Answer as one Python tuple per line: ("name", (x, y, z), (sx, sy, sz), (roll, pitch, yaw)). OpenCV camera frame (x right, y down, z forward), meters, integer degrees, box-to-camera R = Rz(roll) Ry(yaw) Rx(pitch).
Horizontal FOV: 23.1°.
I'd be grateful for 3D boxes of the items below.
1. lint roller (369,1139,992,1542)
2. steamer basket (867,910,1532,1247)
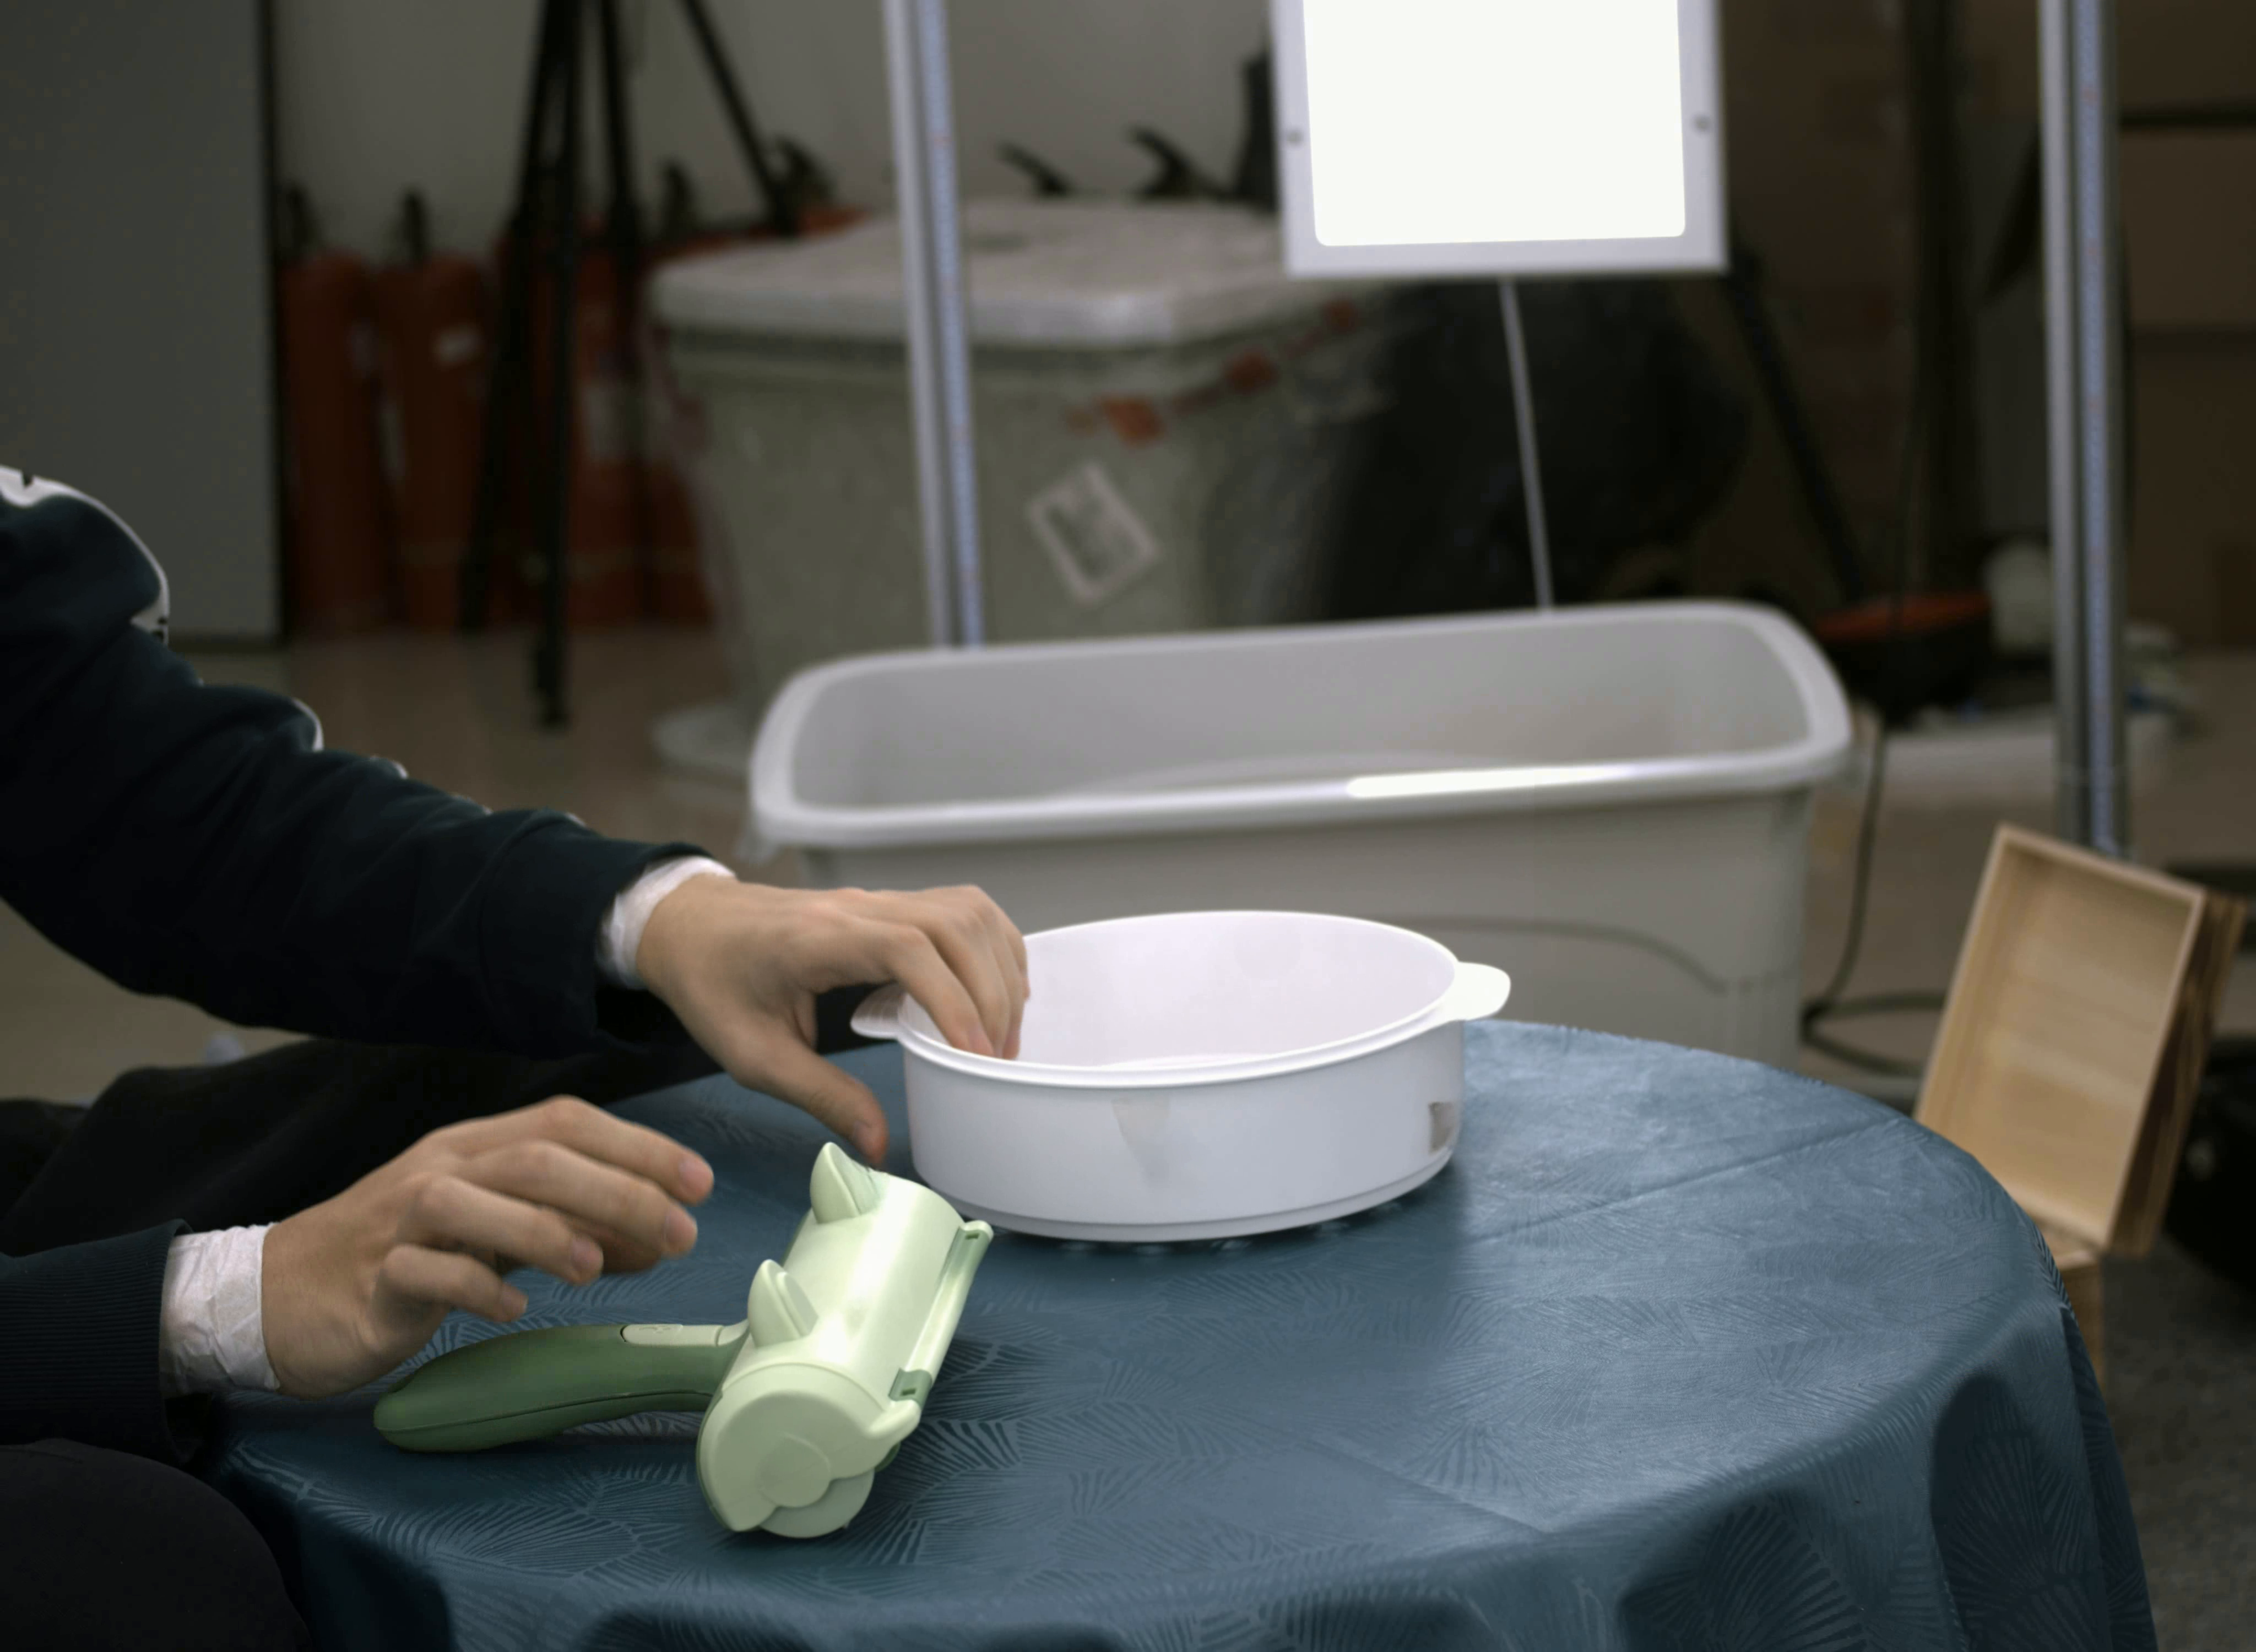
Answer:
("lint roller", (-0.143, 0.151, 1.684), (0.184, 0.082, 0.197), (1, 15, 7))
("steamer basket", (0.026, 0.086, 1.903), (0.232, 0.069, 0.200), (0, 15, 10))
